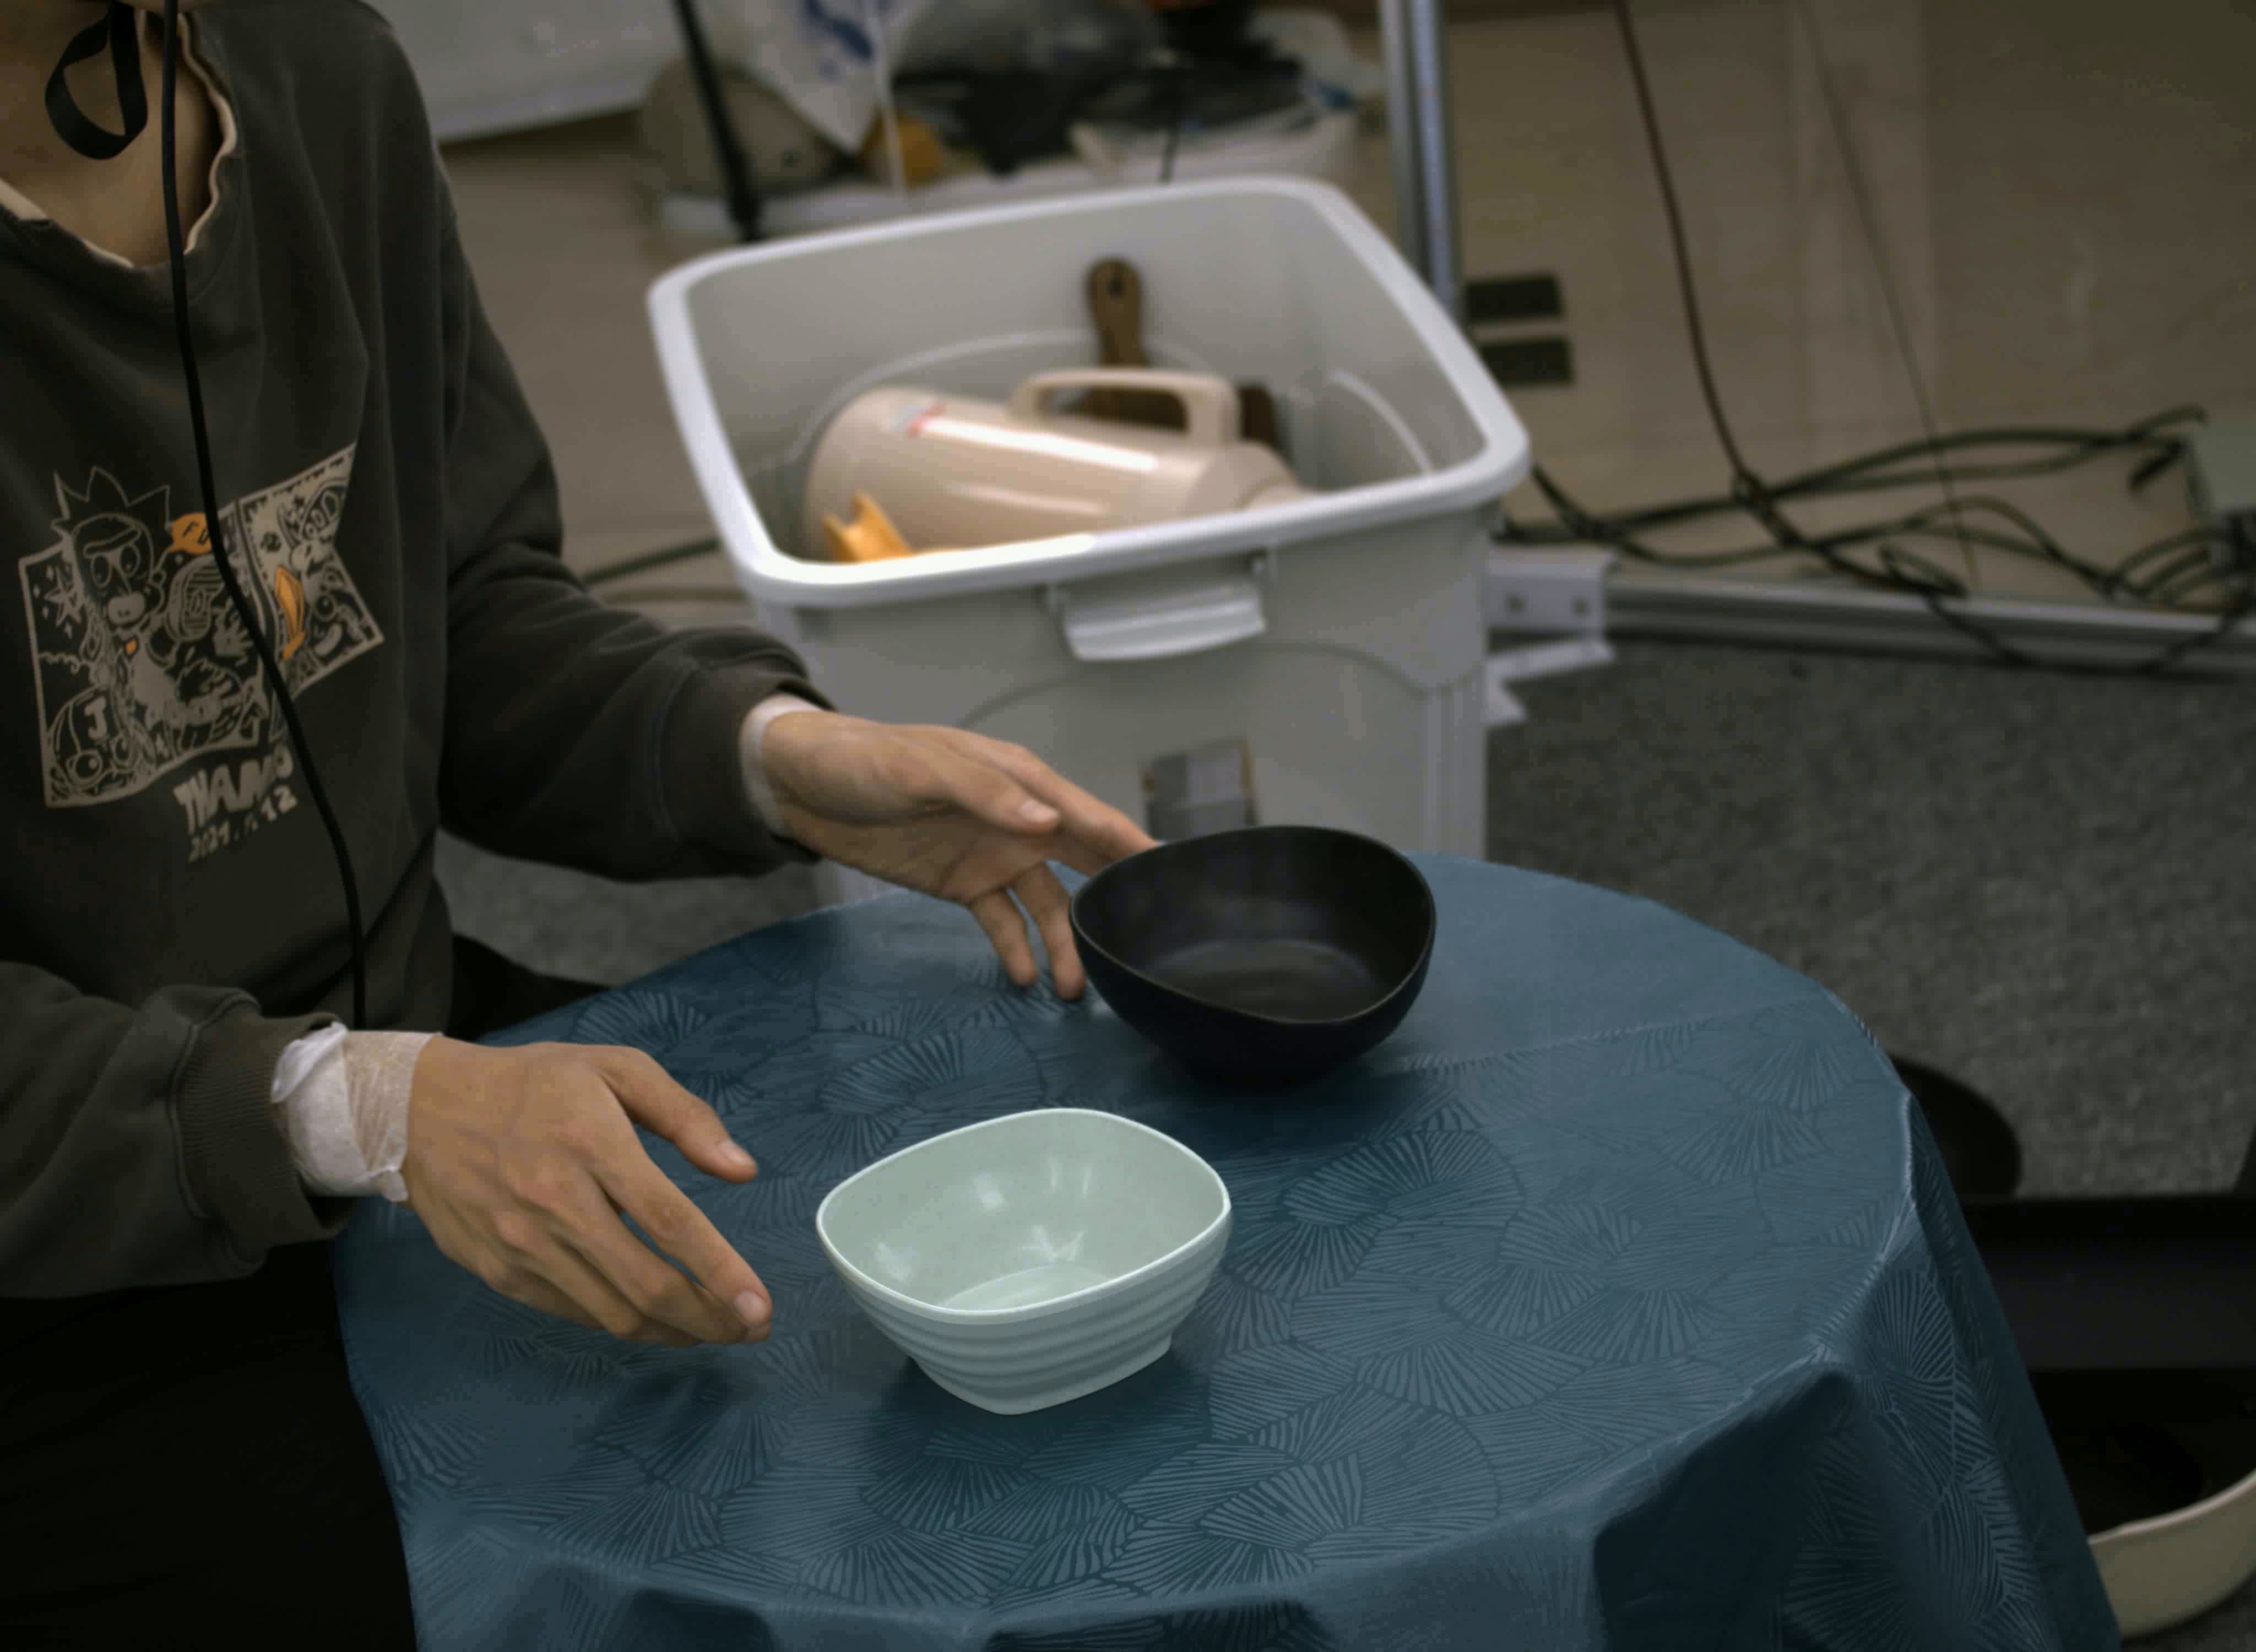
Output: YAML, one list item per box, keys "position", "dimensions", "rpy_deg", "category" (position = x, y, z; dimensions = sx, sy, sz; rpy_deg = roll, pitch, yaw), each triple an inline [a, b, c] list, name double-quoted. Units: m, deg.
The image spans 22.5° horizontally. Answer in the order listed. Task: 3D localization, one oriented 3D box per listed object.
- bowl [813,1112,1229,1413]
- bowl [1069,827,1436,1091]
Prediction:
- position: [-0.037, 0.162, 2.038]
  dimensions: [0.151, 0.059, 0.149]
  rpy_deg: [-3, 25, 2]
  category: "bowl"
- position: [0.053, 0.059, 2.229]
  dimensions: [0.136, 0.068, 0.168]
  rpy_deg: [-18, 29, -22]
  category: "bowl"
